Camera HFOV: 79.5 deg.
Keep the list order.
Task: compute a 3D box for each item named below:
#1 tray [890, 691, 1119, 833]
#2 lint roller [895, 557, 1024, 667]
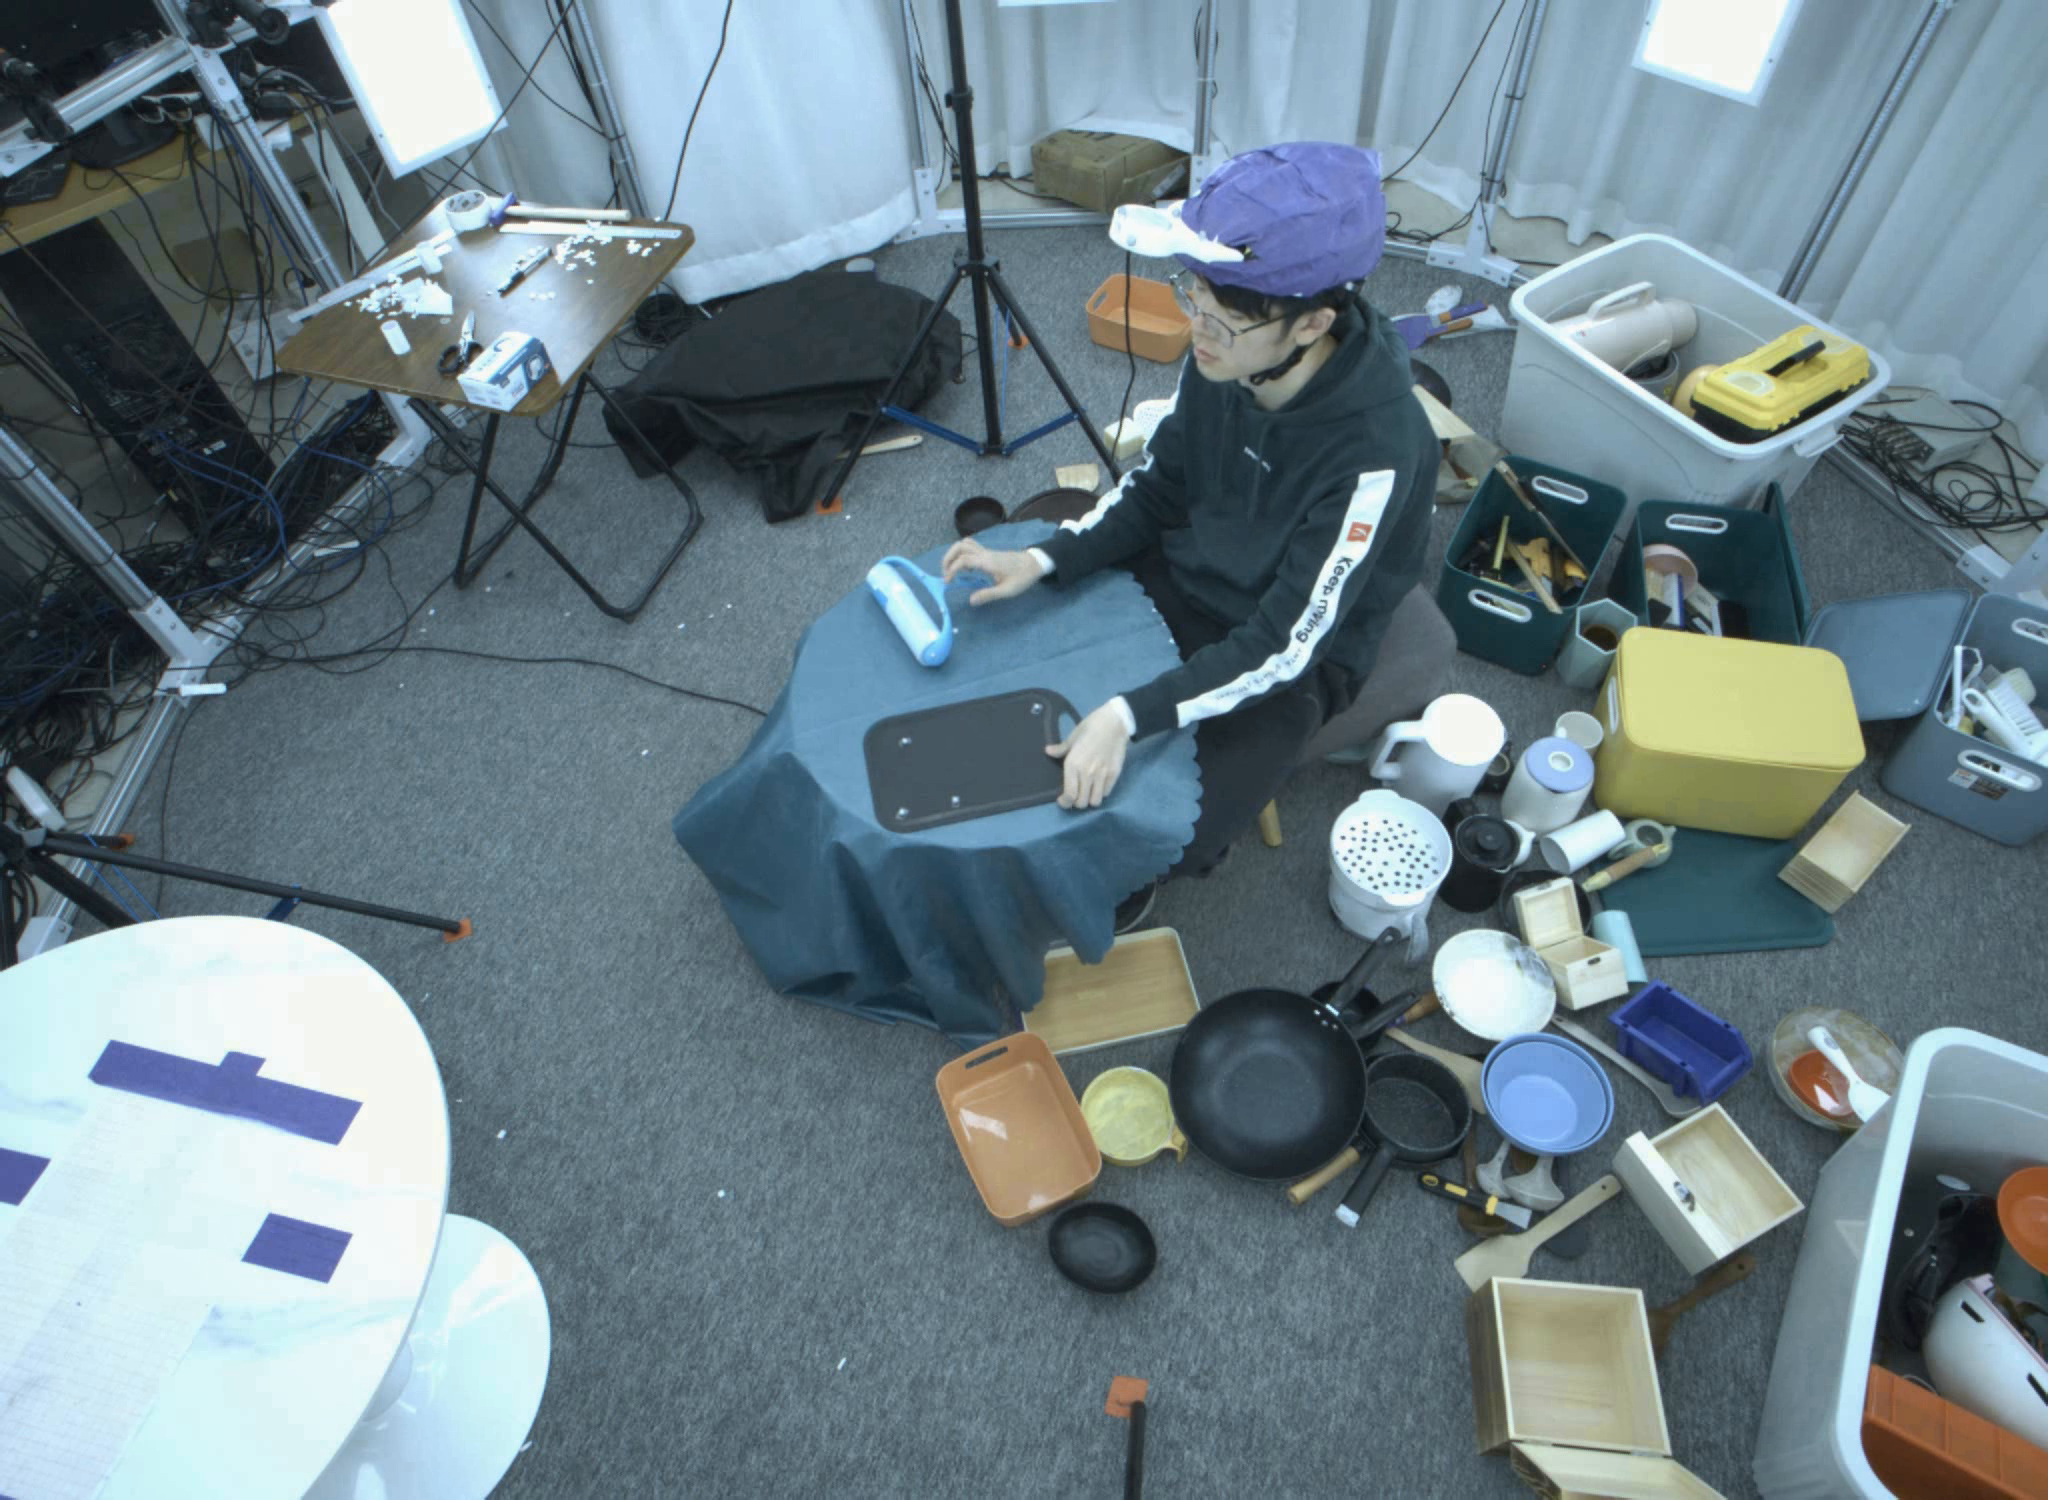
[{"bbox_3d":[-0.026,0.010,1.772,0.326,0.010,0.208,-10,55,-5],"label":"tray"},{"bbox_3d":[-0.086,-0.239,1.920,0.181,0.069,0.224,-28,56,-15],"label":"lint roller"}]
